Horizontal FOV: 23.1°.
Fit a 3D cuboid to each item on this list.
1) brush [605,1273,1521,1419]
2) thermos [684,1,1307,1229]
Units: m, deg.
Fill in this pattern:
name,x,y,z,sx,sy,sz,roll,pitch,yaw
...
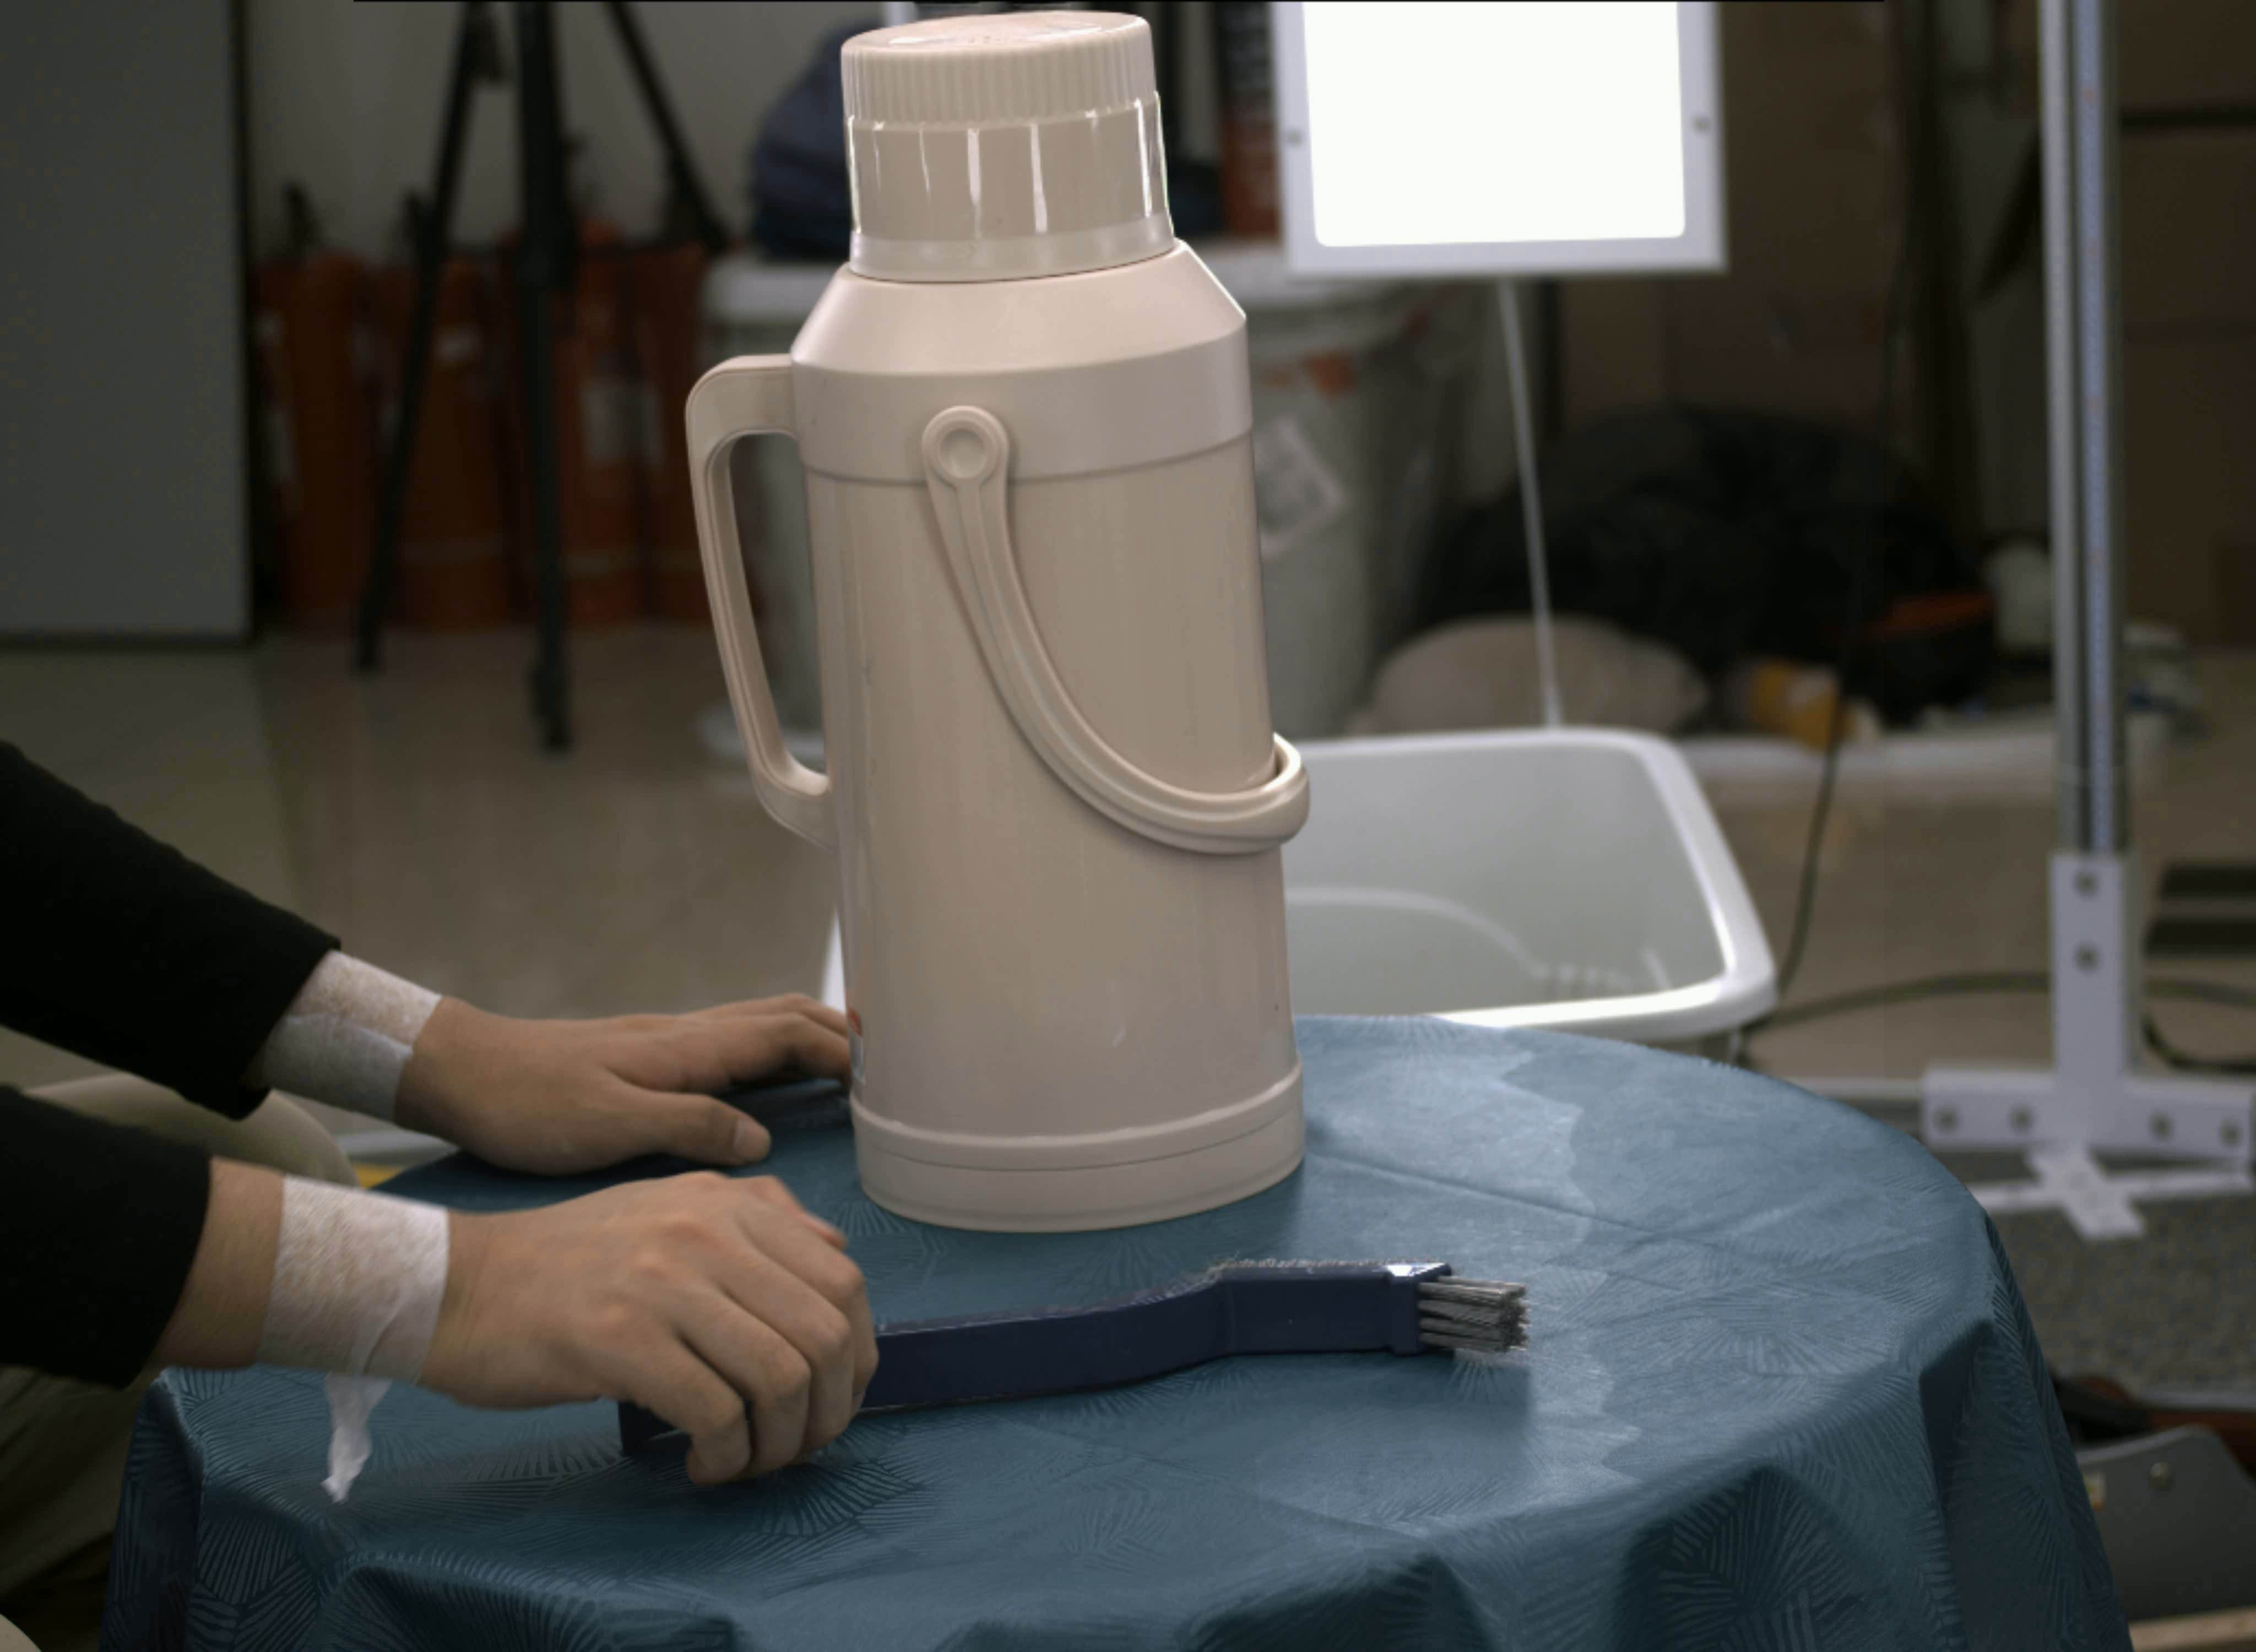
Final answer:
name,x,y,z,sx,sy,sz,roll,pitch,yaw
brush,-0.021,0.160,1.697,0.269,0.033,0.096,-6,13,-12
thermos,-0.045,-0.074,1.895,0.209,0.408,0.173,-1,16,13
